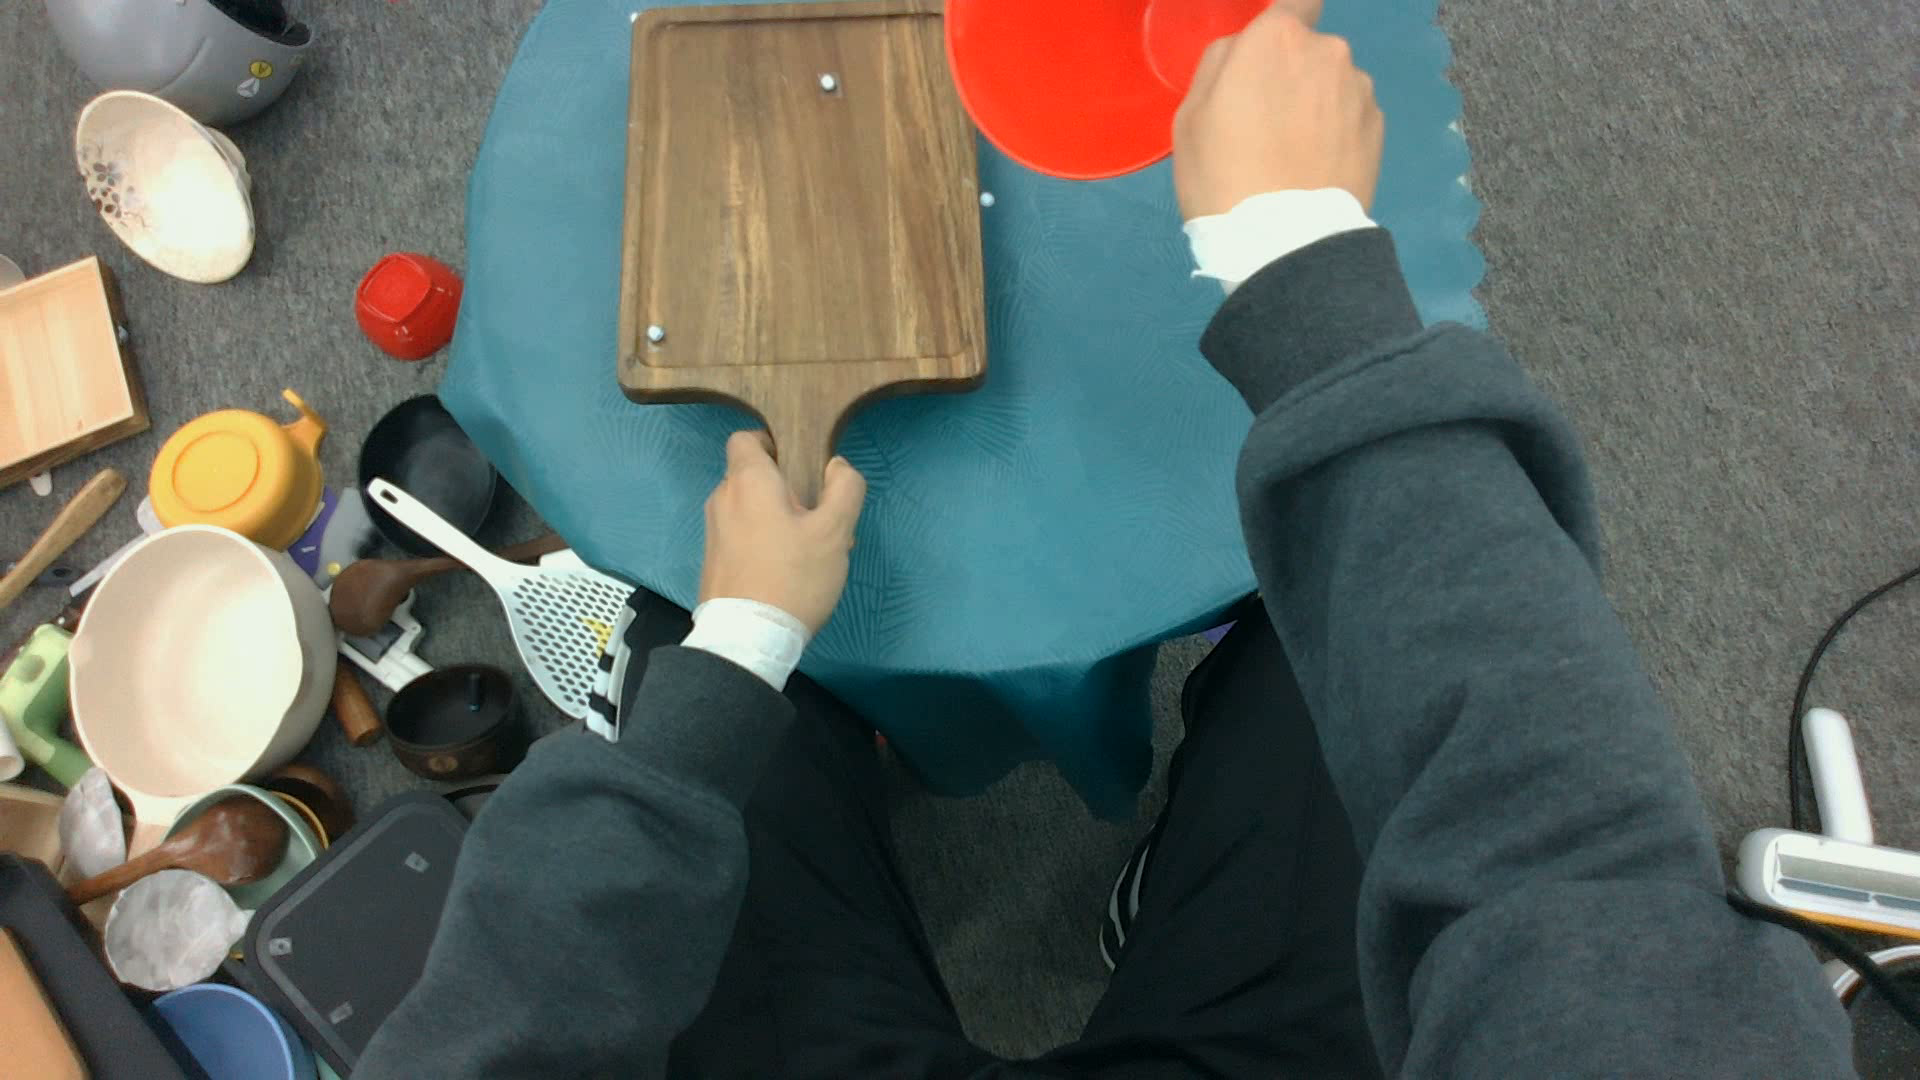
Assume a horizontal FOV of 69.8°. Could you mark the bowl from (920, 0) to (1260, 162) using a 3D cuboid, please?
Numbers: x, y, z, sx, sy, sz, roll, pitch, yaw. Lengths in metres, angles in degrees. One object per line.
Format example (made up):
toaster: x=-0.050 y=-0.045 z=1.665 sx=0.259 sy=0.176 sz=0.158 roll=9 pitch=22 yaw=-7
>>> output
bowl: x=0.071 y=-0.247 z=0.630 sx=0.148 sy=0.105 sz=0.148 roll=7 pitch=103 yaw=34

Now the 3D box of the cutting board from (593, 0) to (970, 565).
cutting board: x=-0.098 y=-0.155 z=0.751 sx=0.201 sy=0.023 sz=0.353 roll=-3 pitch=70 yaw=-2
